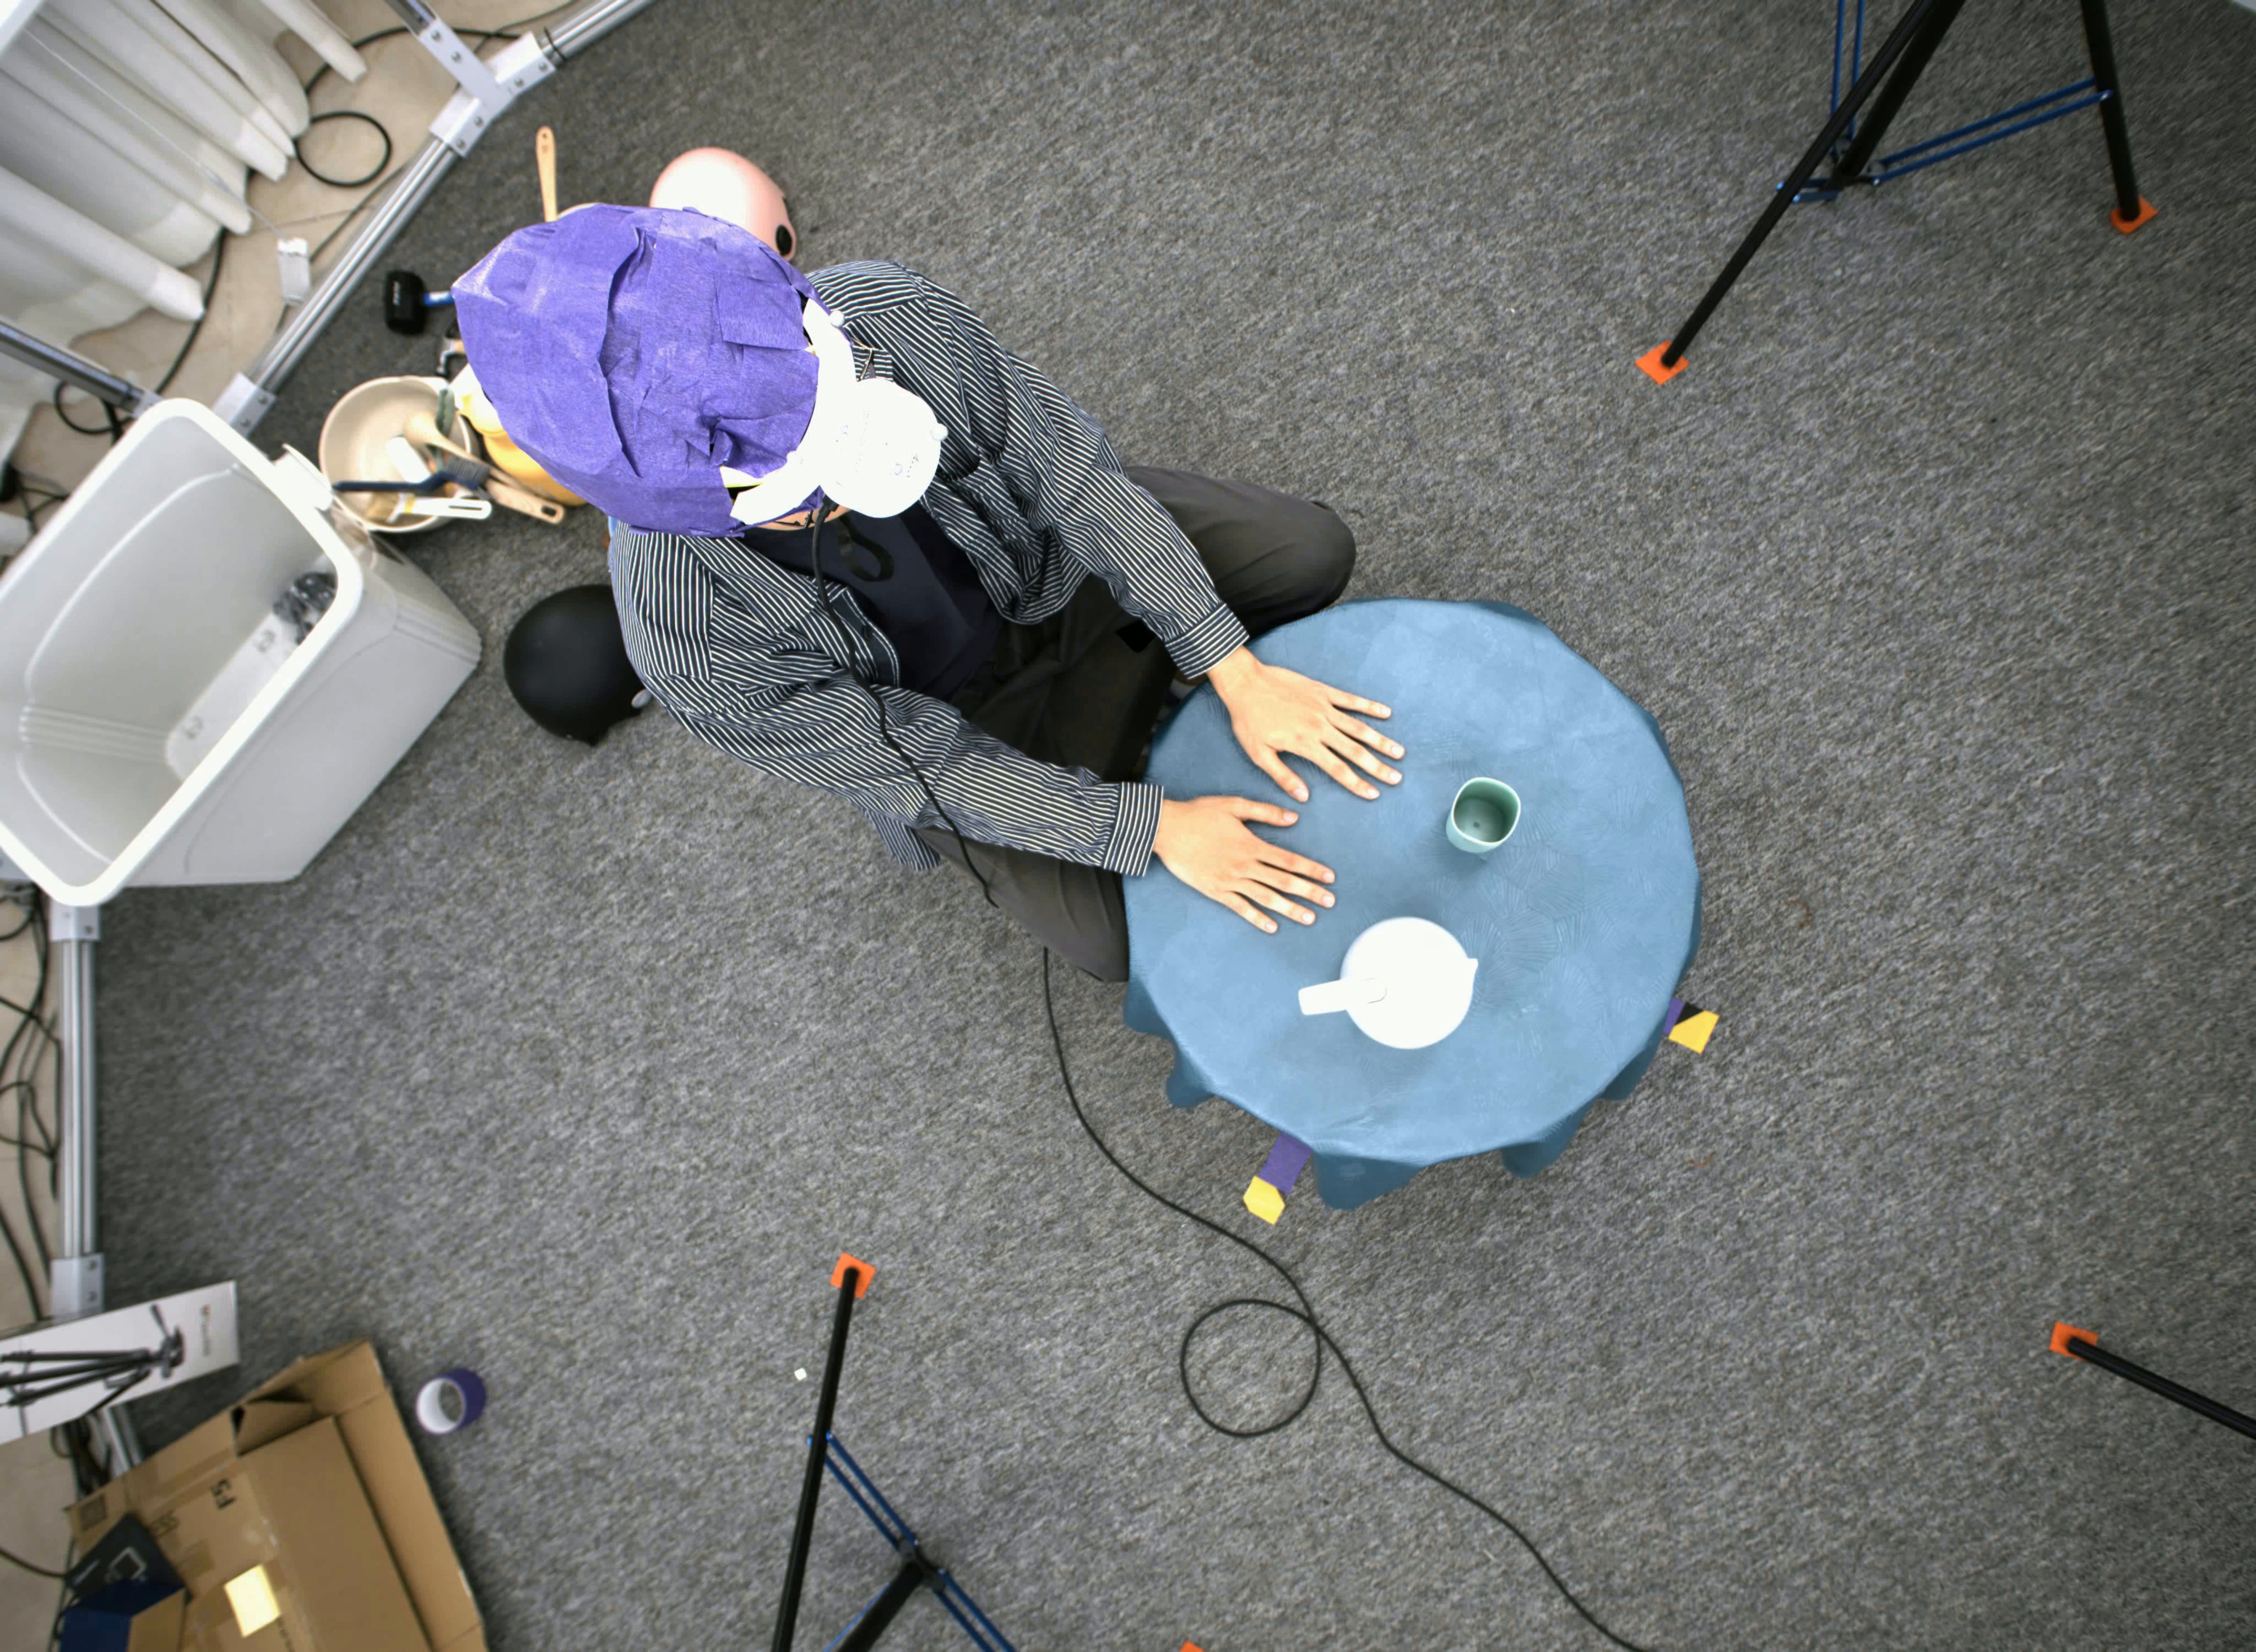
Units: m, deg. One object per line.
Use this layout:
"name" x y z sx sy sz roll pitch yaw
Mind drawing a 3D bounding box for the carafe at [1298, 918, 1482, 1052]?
"carafe" 0.247 0.156 1.319 0.168 0.248 0.132 -15 84 9

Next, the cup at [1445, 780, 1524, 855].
"cup" 0.353 -0.009 1.374 0.067 0.132 0.066 -1 86 9
